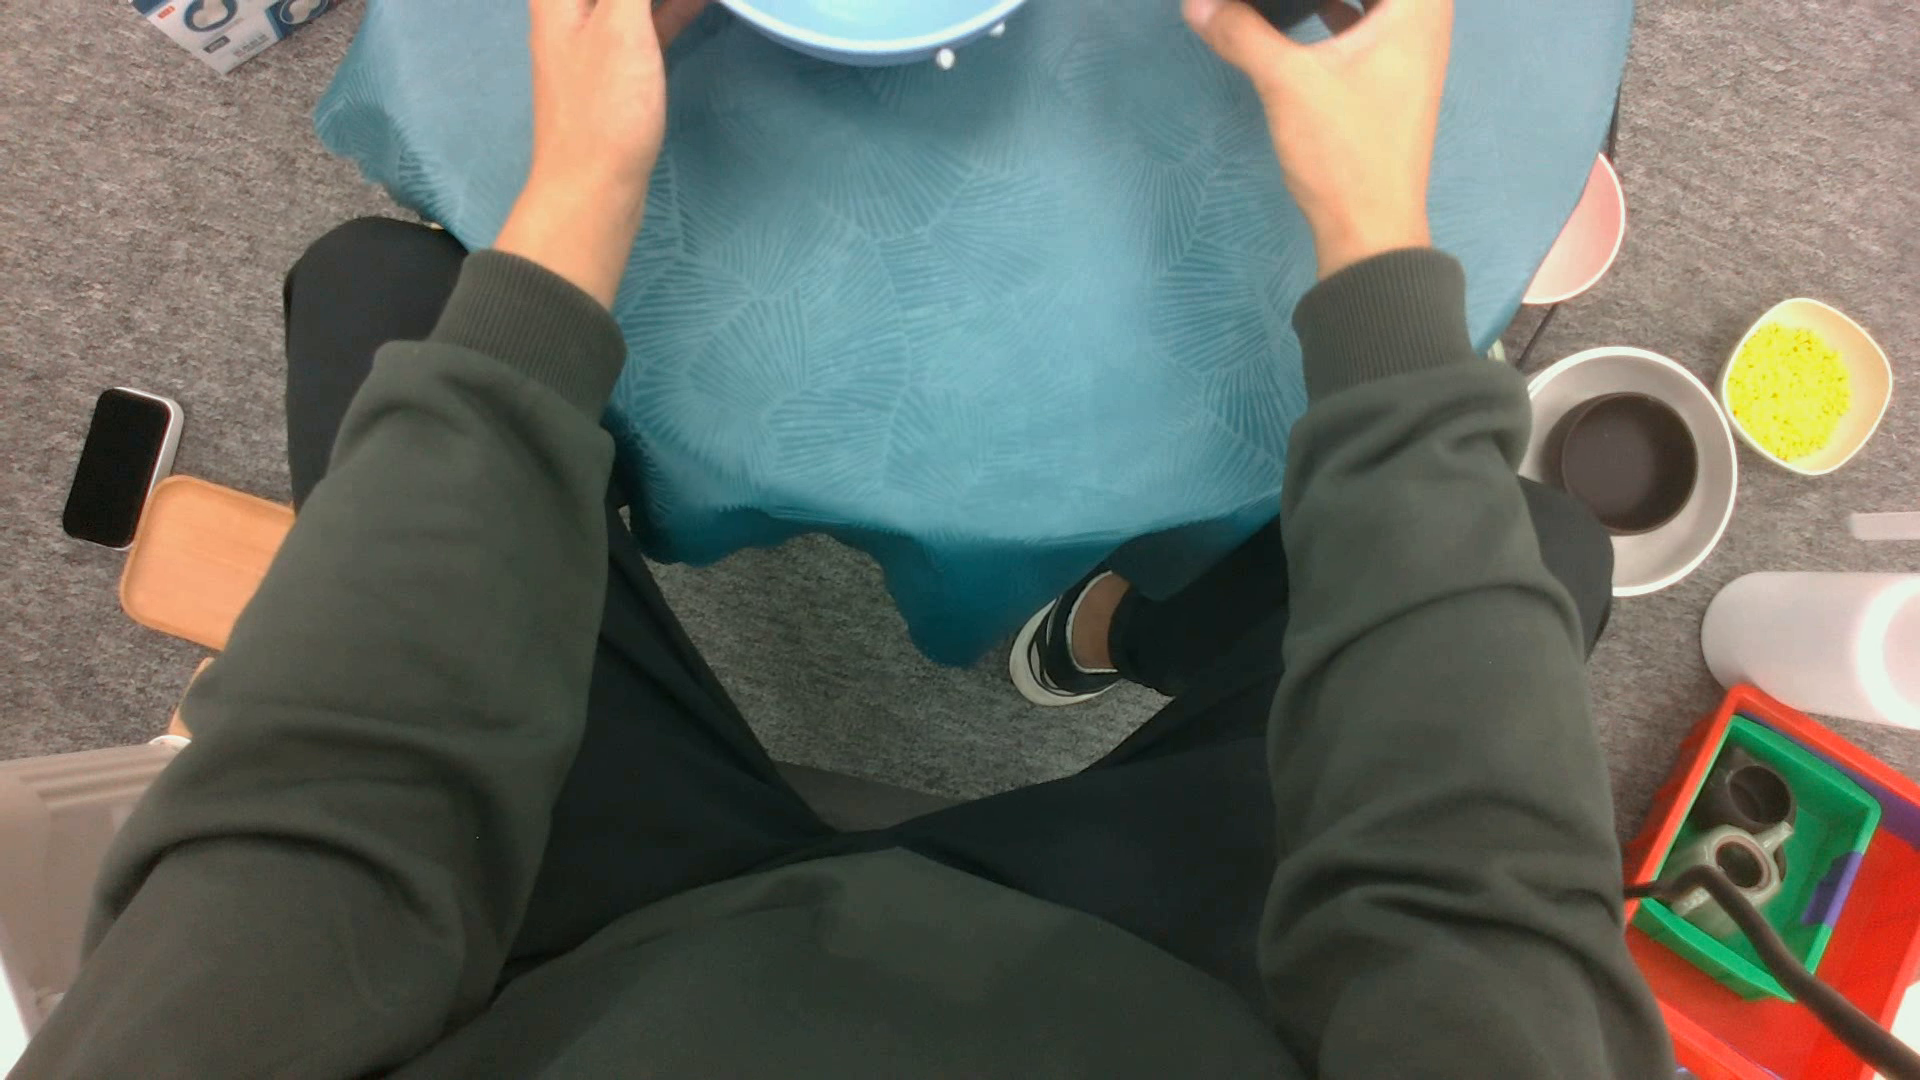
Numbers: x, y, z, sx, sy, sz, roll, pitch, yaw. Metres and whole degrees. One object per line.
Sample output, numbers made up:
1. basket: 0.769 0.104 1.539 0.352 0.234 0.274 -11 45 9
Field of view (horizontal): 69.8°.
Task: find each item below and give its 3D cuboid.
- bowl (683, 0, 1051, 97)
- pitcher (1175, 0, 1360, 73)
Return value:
1. bowl: -0.041 -0.284 0.613 0.196 0.095 0.196 0 90 -2
2. pitcher: 0.129 -0.249 0.607 0.096 0.071 0.084 14 81 1
